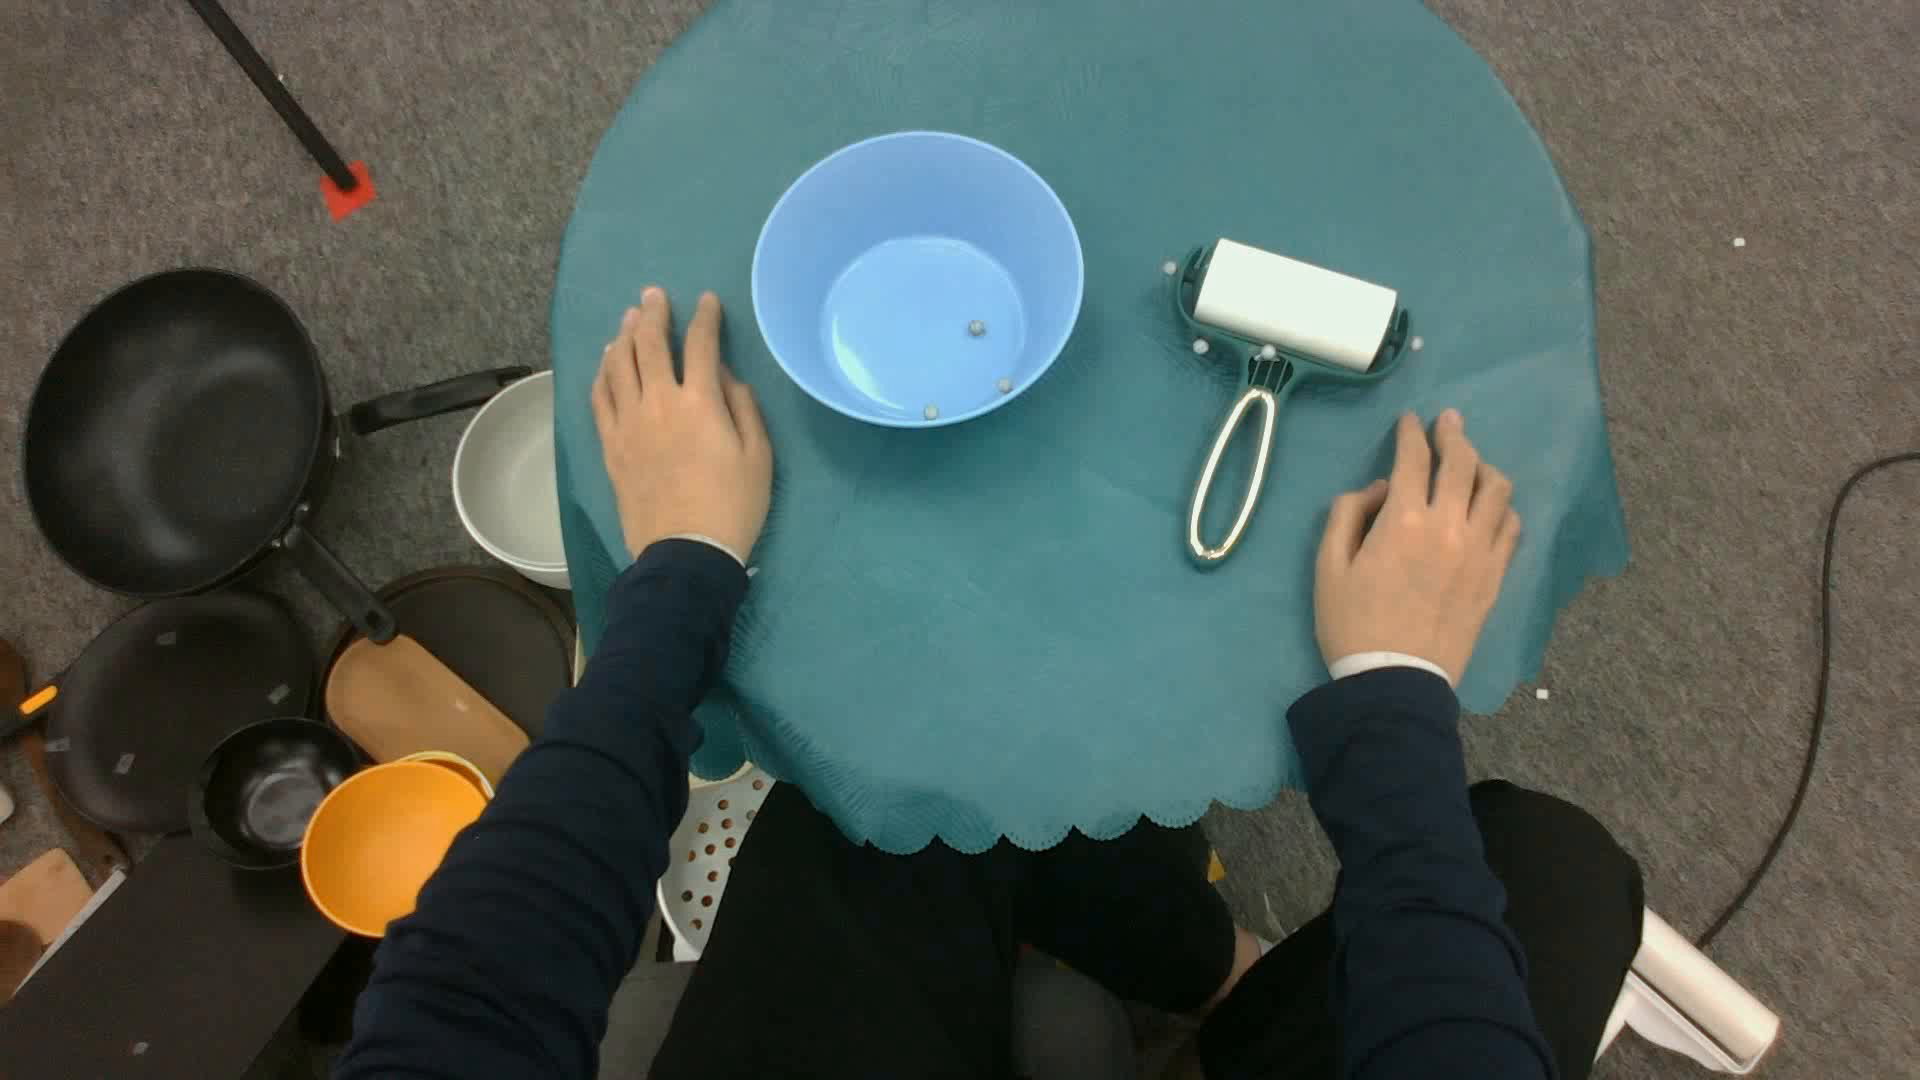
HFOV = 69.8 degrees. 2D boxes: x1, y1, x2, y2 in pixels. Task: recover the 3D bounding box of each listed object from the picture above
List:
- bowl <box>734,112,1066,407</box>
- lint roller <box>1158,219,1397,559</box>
[{"bbox_3d":[-0.032,-0.142,0.756,0.176,0.070,0.176,0,71,0],"label":"bowl"},{"bbox_3d":[0.153,-0.078,0.750,0.134,0.048,0.180,19,76,7],"label":"lint roller"}]
